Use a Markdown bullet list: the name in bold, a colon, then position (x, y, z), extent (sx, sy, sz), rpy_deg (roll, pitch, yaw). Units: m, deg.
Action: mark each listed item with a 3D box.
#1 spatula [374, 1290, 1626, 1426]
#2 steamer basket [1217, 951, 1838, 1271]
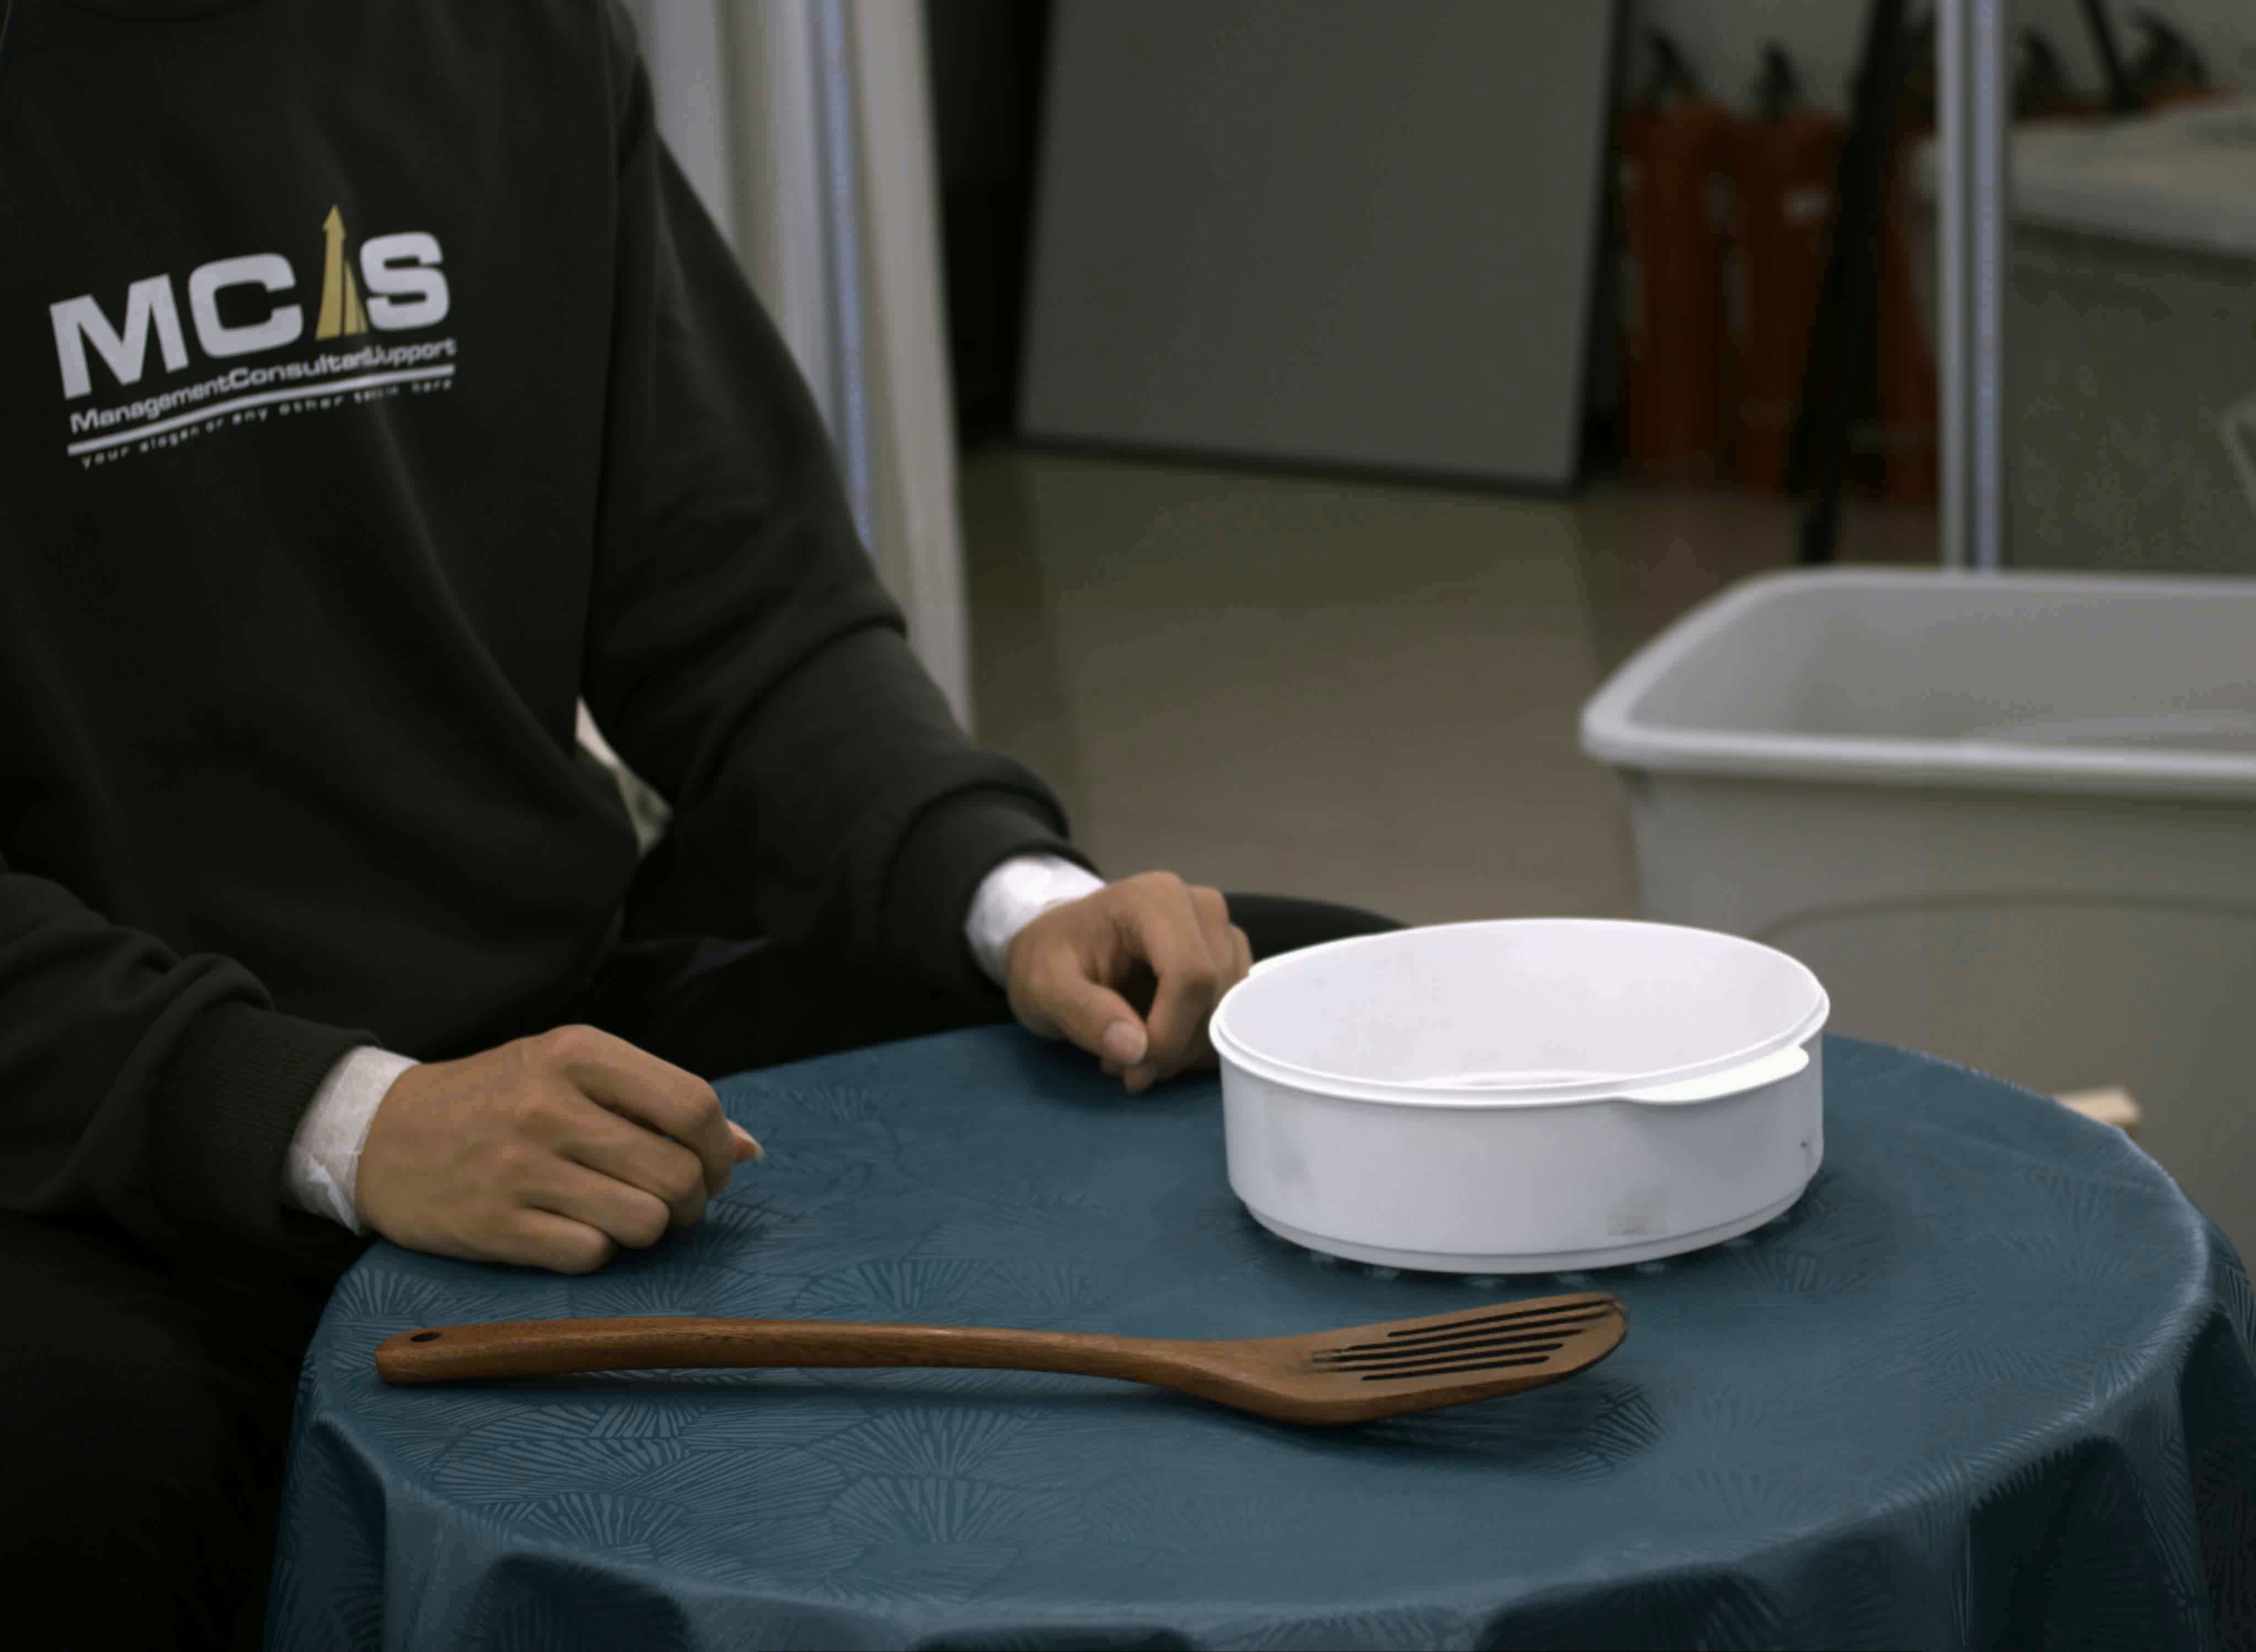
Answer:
- **spatula**: position (-0.043, 0.158, 1.590), extent (0.383, 0.024, 0.085), rpy_deg (-2, 11, 15)
- **steamer basket**: position (0.129, 0.091, 1.728), extent (0.197, 0.070, 0.233), rpy_deg (-10, 11, -33)
